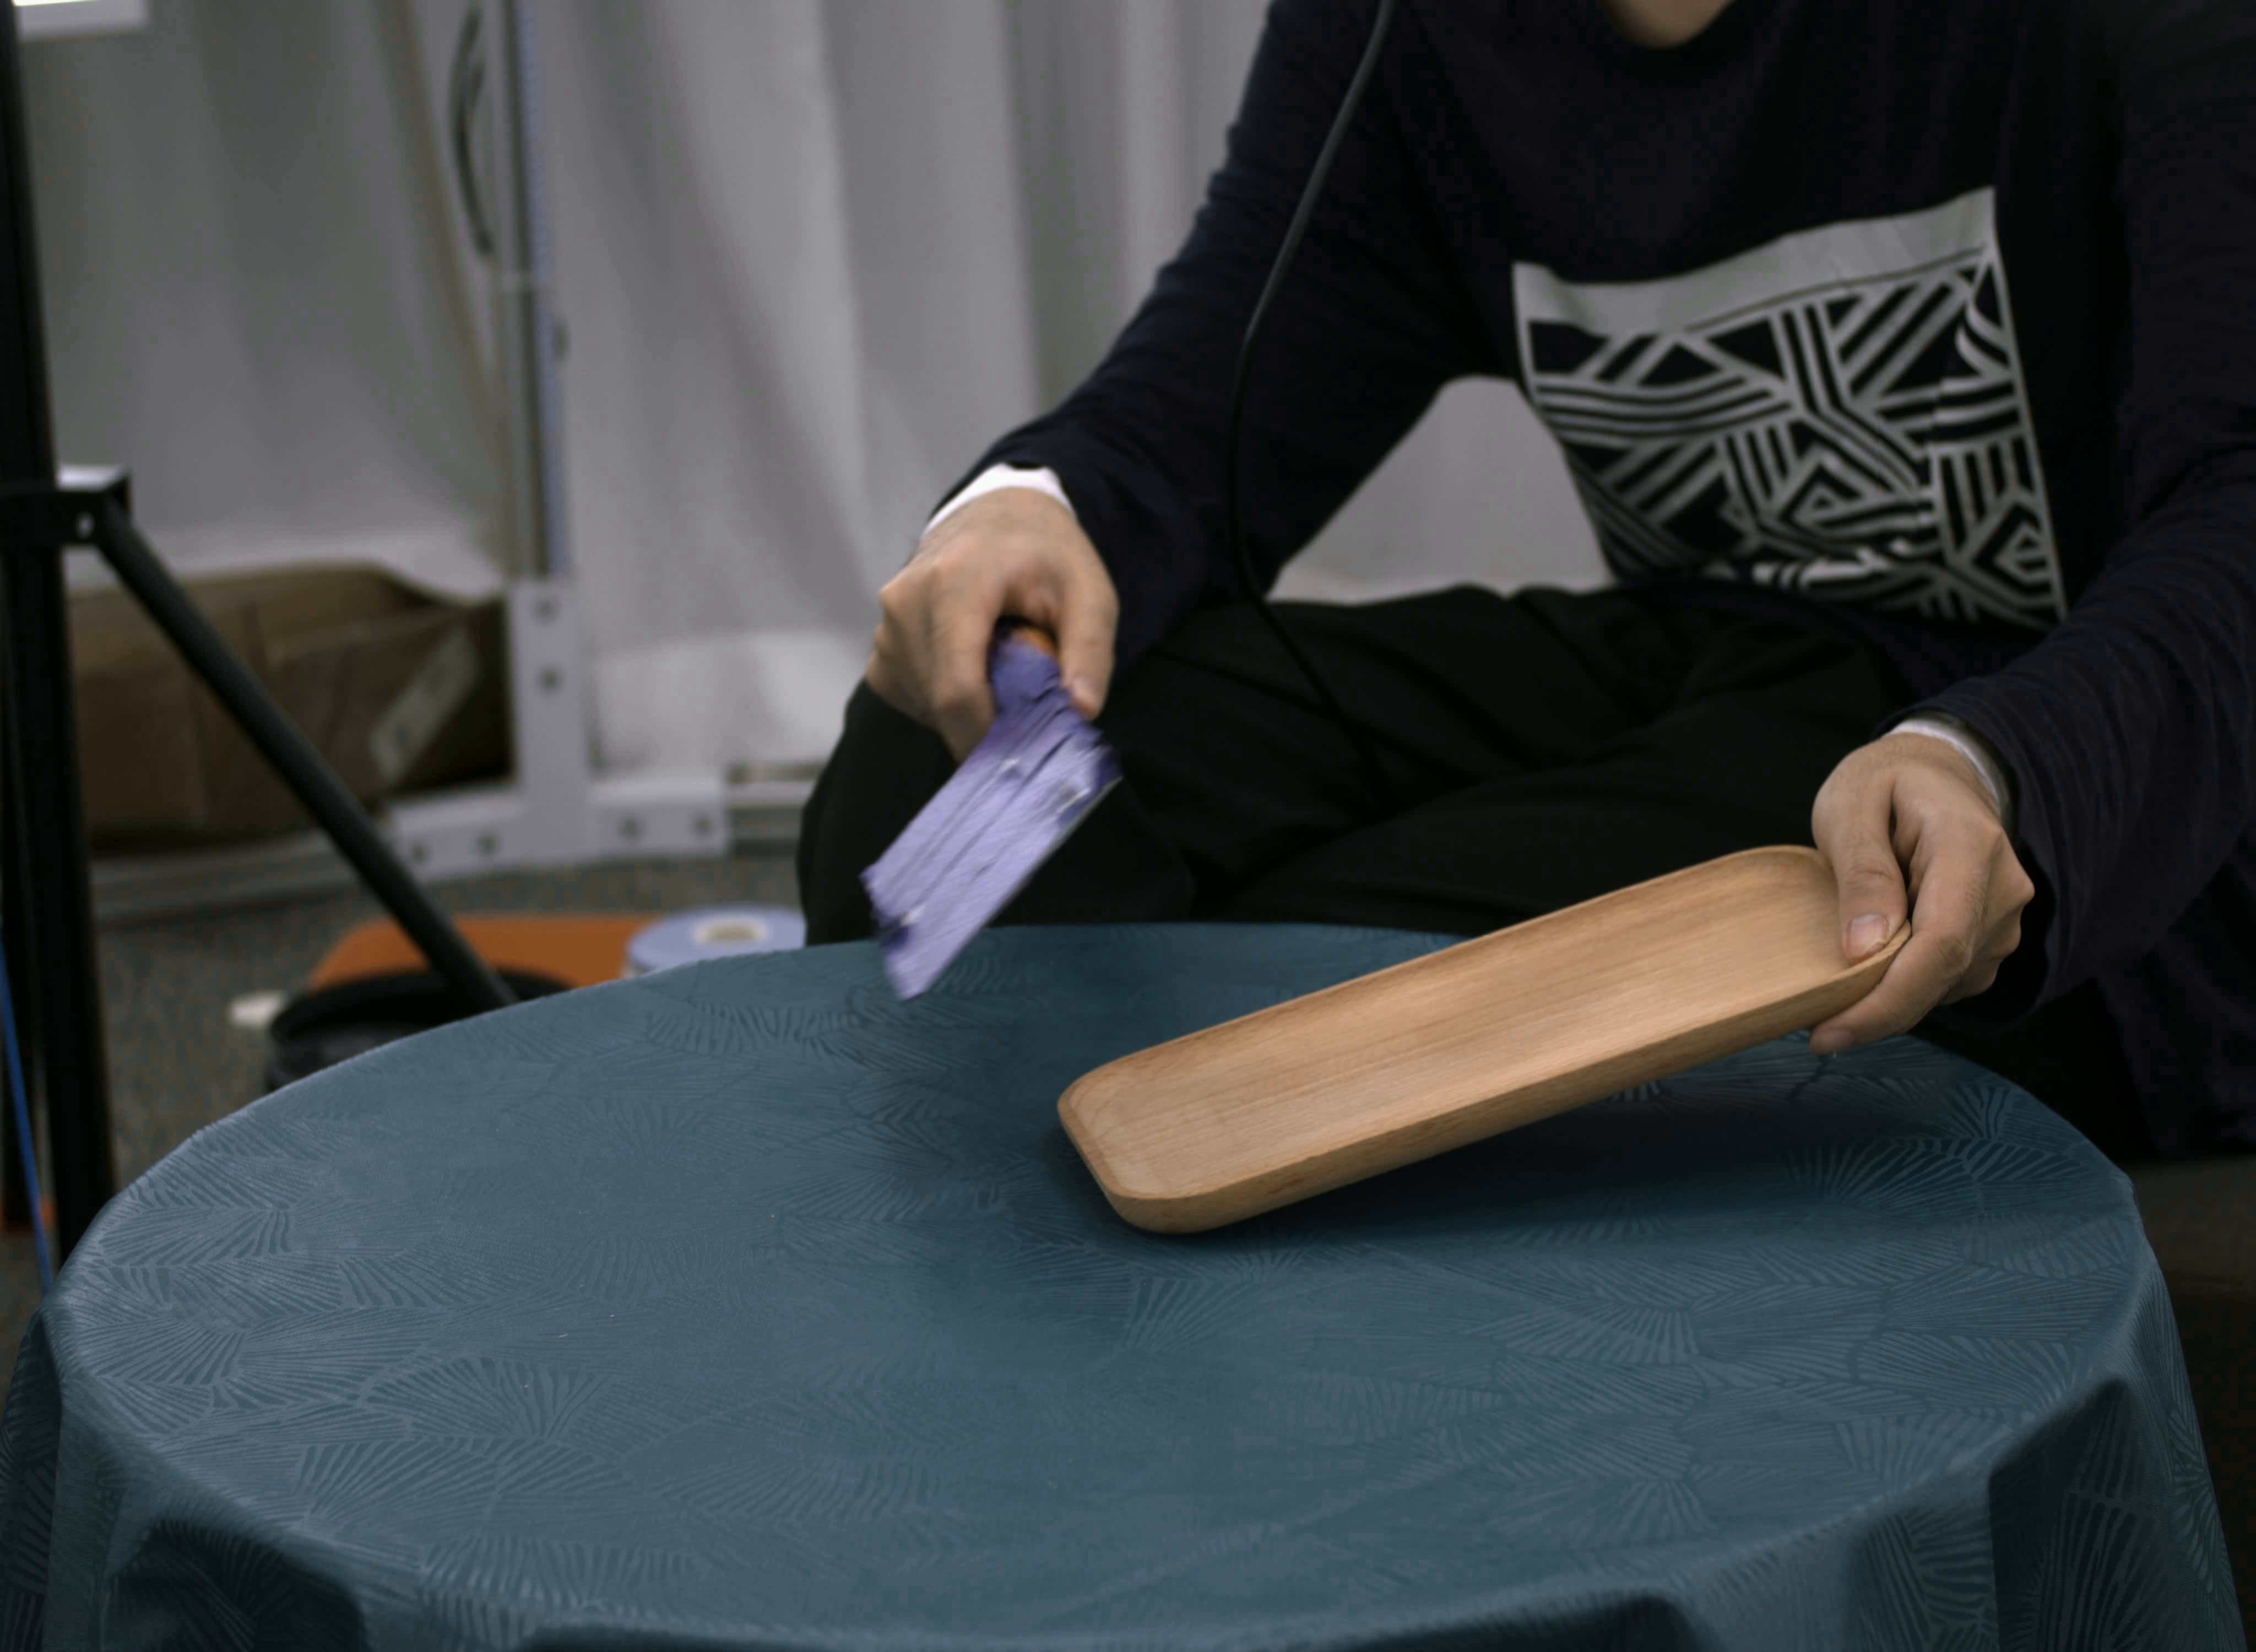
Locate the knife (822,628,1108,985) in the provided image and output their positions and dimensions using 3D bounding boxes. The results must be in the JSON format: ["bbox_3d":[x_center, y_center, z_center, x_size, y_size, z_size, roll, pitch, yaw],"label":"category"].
[{"bbox_3d":[-0.056,-0.009,1.653,0.104,0.032,0.316,-45,9,3],"label":"knife"}]

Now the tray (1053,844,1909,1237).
[{"bbox_3d":[0.104,0.063,1.578,0.249,0.023,0.132,-18,16,-3],"label":"tray"}]
